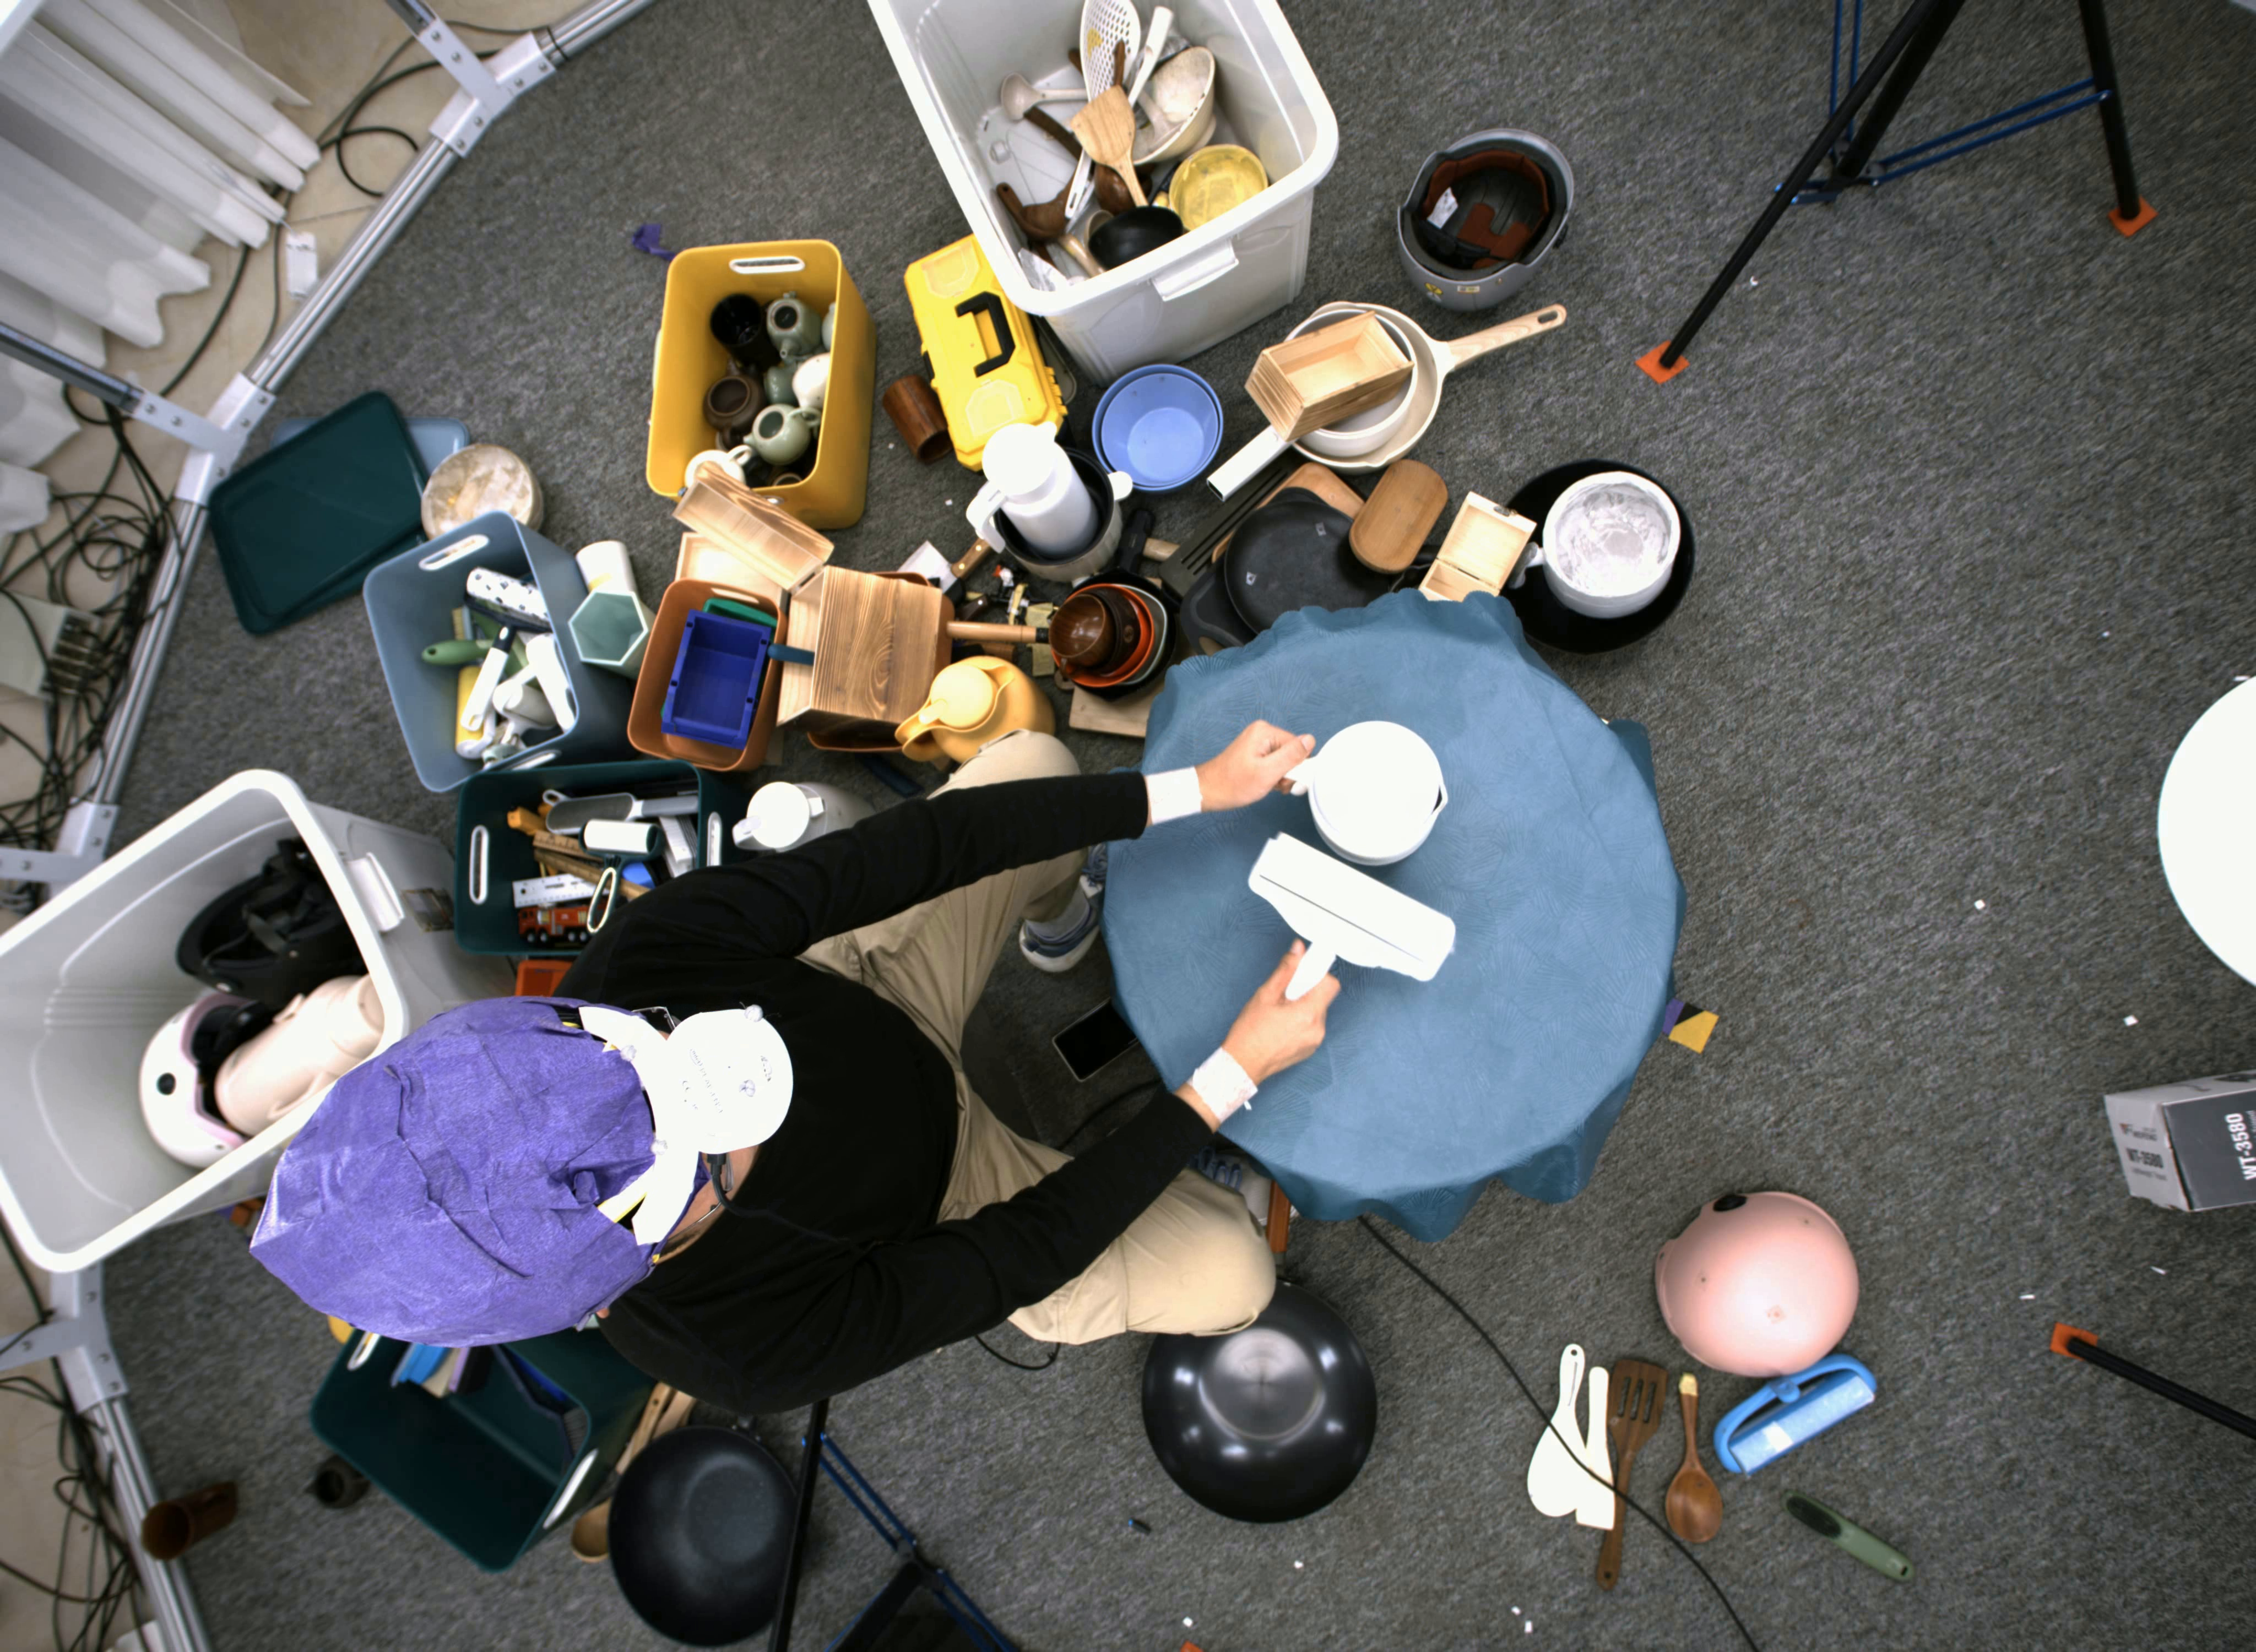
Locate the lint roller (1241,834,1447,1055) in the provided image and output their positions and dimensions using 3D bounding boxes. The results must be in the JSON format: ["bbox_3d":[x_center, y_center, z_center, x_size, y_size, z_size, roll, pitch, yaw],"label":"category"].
[{"bbox_3d":[0.181,0.141,1.389,0.203,0.047,0.229,25,112,-1],"label":"lint roller"}]

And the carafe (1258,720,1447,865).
[{"bbox_3d":[0.224,-0.039,1.387,0.191,0.183,0.132,14,87,13],"label":"carafe"}]
